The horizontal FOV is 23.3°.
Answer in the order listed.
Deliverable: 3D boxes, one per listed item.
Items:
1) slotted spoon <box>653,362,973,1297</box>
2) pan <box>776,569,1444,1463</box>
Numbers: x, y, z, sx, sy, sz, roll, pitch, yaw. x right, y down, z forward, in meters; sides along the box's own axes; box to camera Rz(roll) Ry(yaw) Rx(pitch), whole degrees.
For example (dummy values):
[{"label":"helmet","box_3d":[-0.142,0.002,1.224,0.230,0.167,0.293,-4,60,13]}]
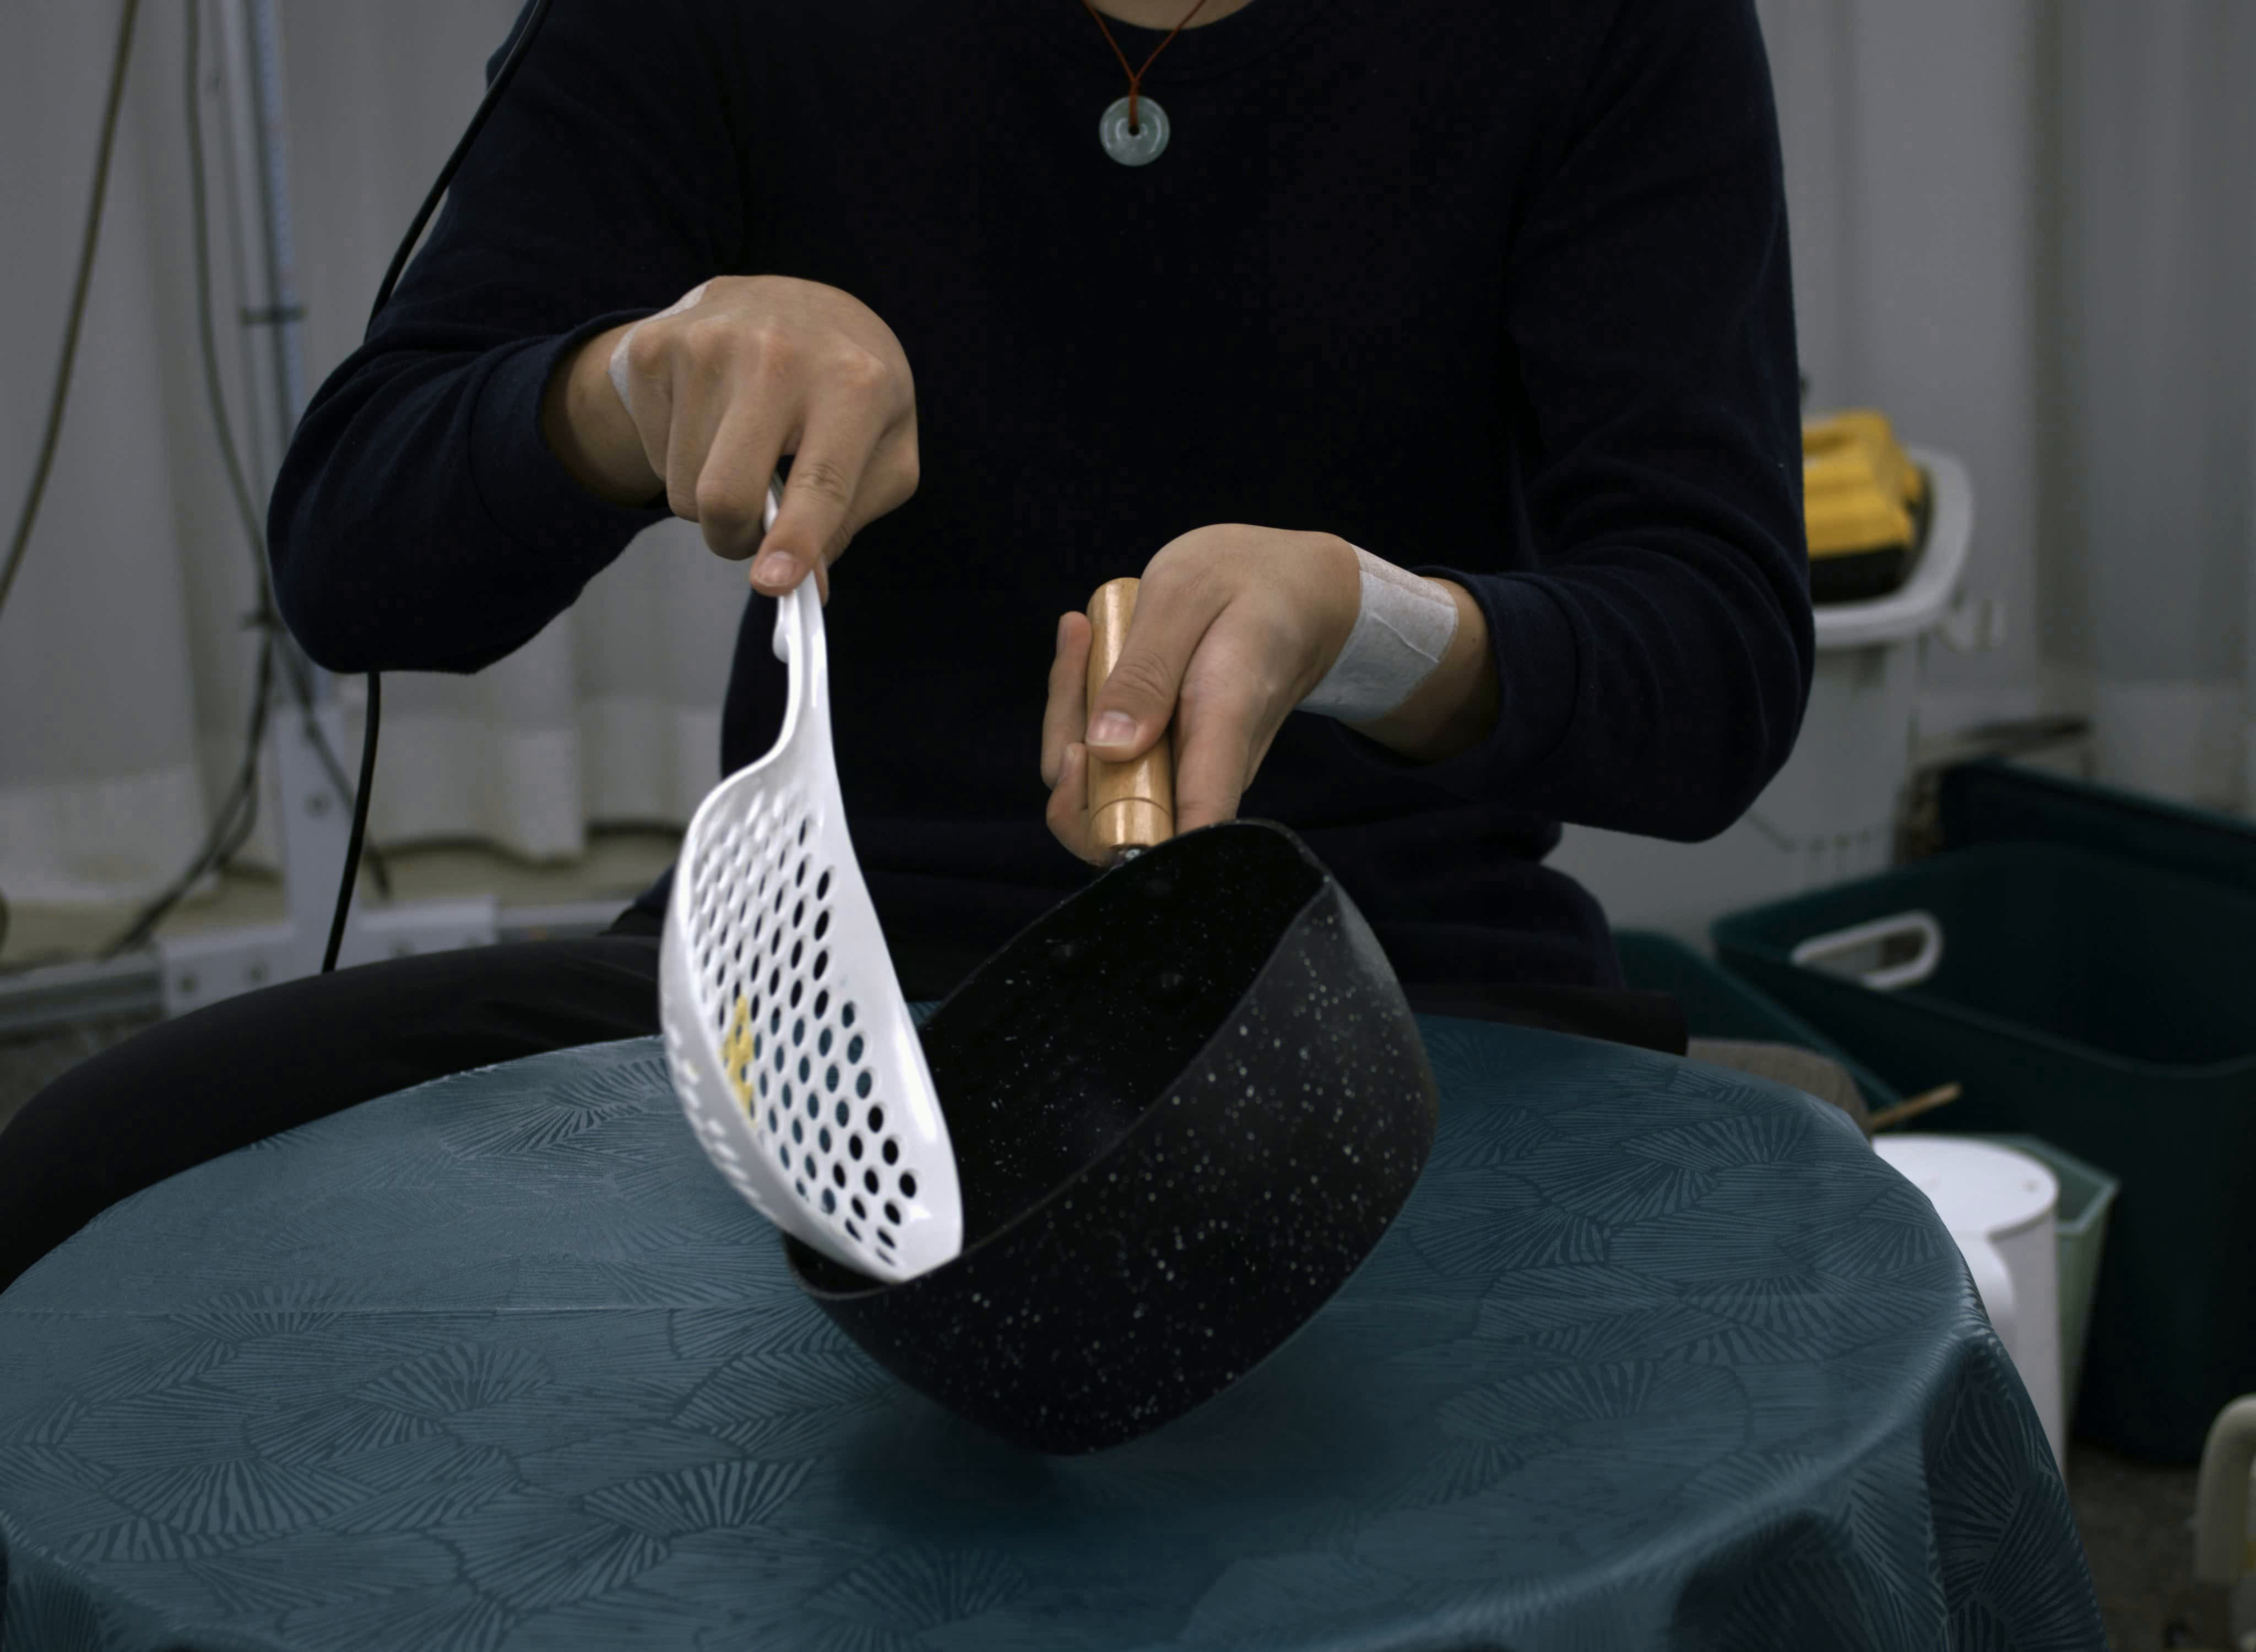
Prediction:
[{"label":"slotted spoon","box_3d":[-0.101,-0.013,1.546,0.050,0.135,0.353,-24,43,22]},{"label":"pan","box_3d":[0.005,0.045,1.574,0.206,0.107,0.347,-35,20,23]}]
